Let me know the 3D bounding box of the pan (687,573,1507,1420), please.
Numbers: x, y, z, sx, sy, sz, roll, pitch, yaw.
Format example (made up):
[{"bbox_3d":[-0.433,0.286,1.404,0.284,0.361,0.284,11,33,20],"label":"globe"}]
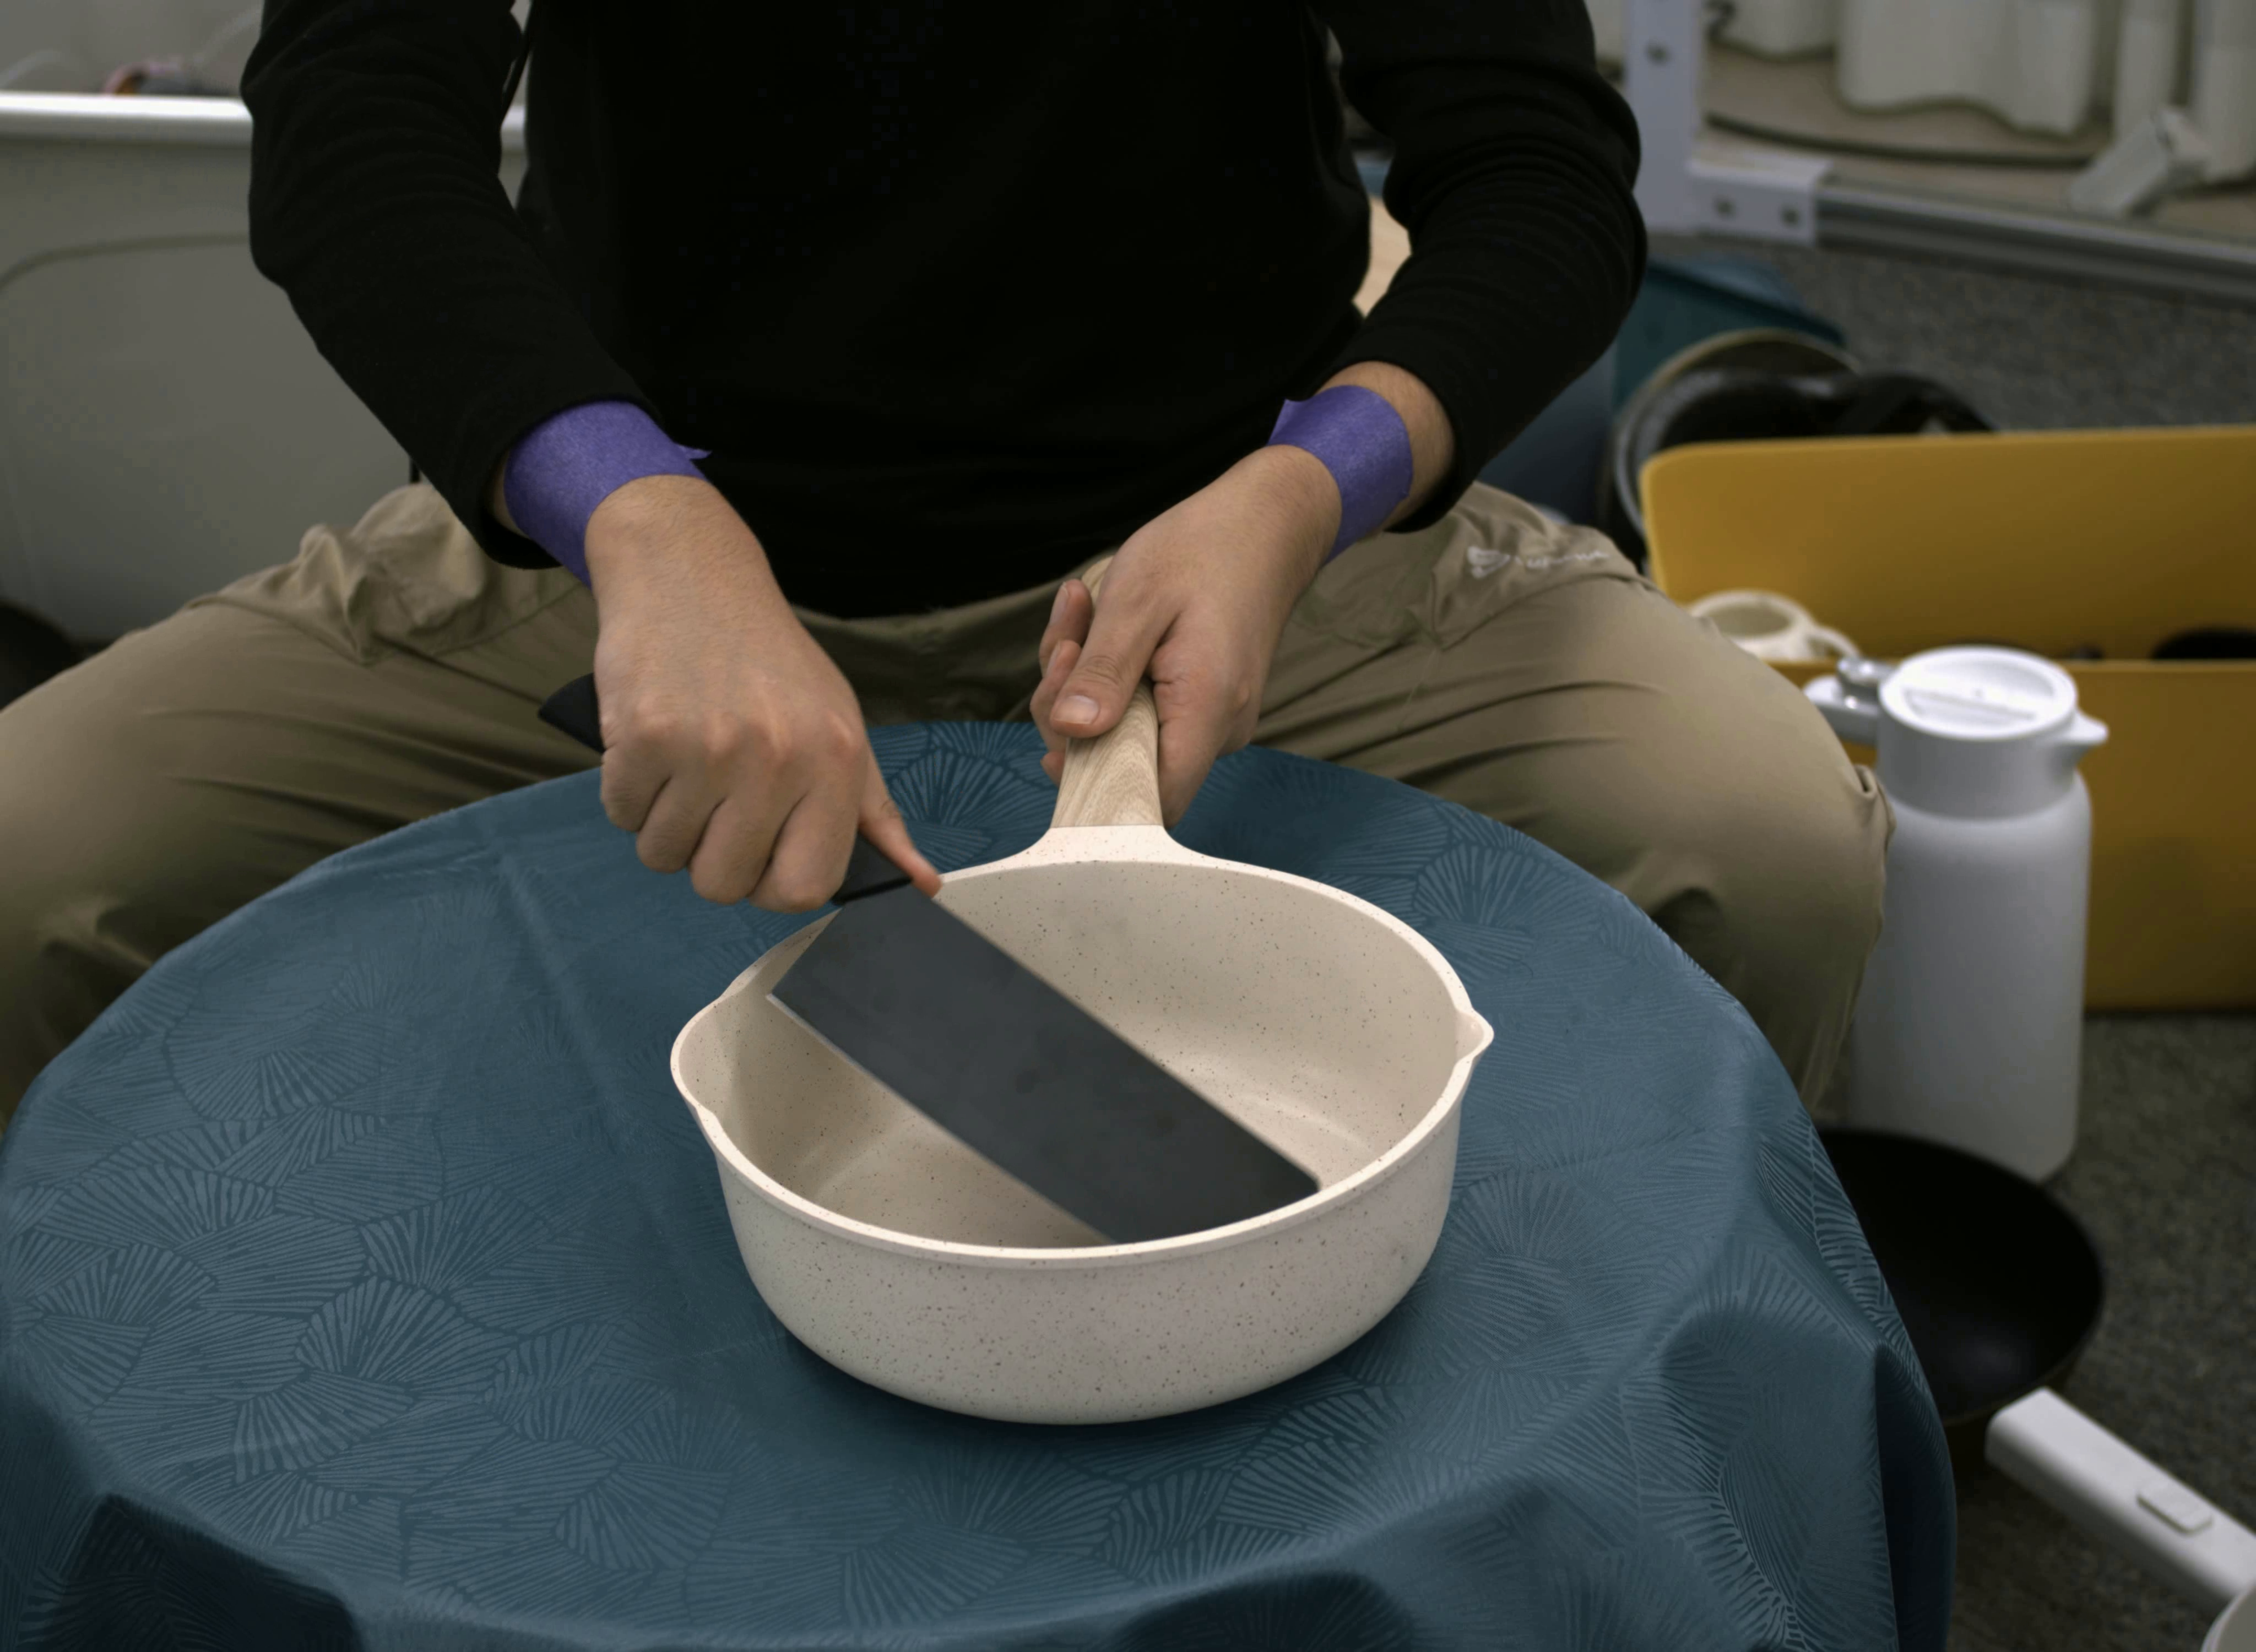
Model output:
[{"bbox_3d":[-0.005,0.053,1.885,0.262,0.101,0.441,-3,27,3],"label":"pan"}]

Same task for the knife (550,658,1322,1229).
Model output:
[{"bbox_3d":[-0.069,0.046,1.826,0.303,0.020,0.082,40,57,12],"label":"knife"}]
